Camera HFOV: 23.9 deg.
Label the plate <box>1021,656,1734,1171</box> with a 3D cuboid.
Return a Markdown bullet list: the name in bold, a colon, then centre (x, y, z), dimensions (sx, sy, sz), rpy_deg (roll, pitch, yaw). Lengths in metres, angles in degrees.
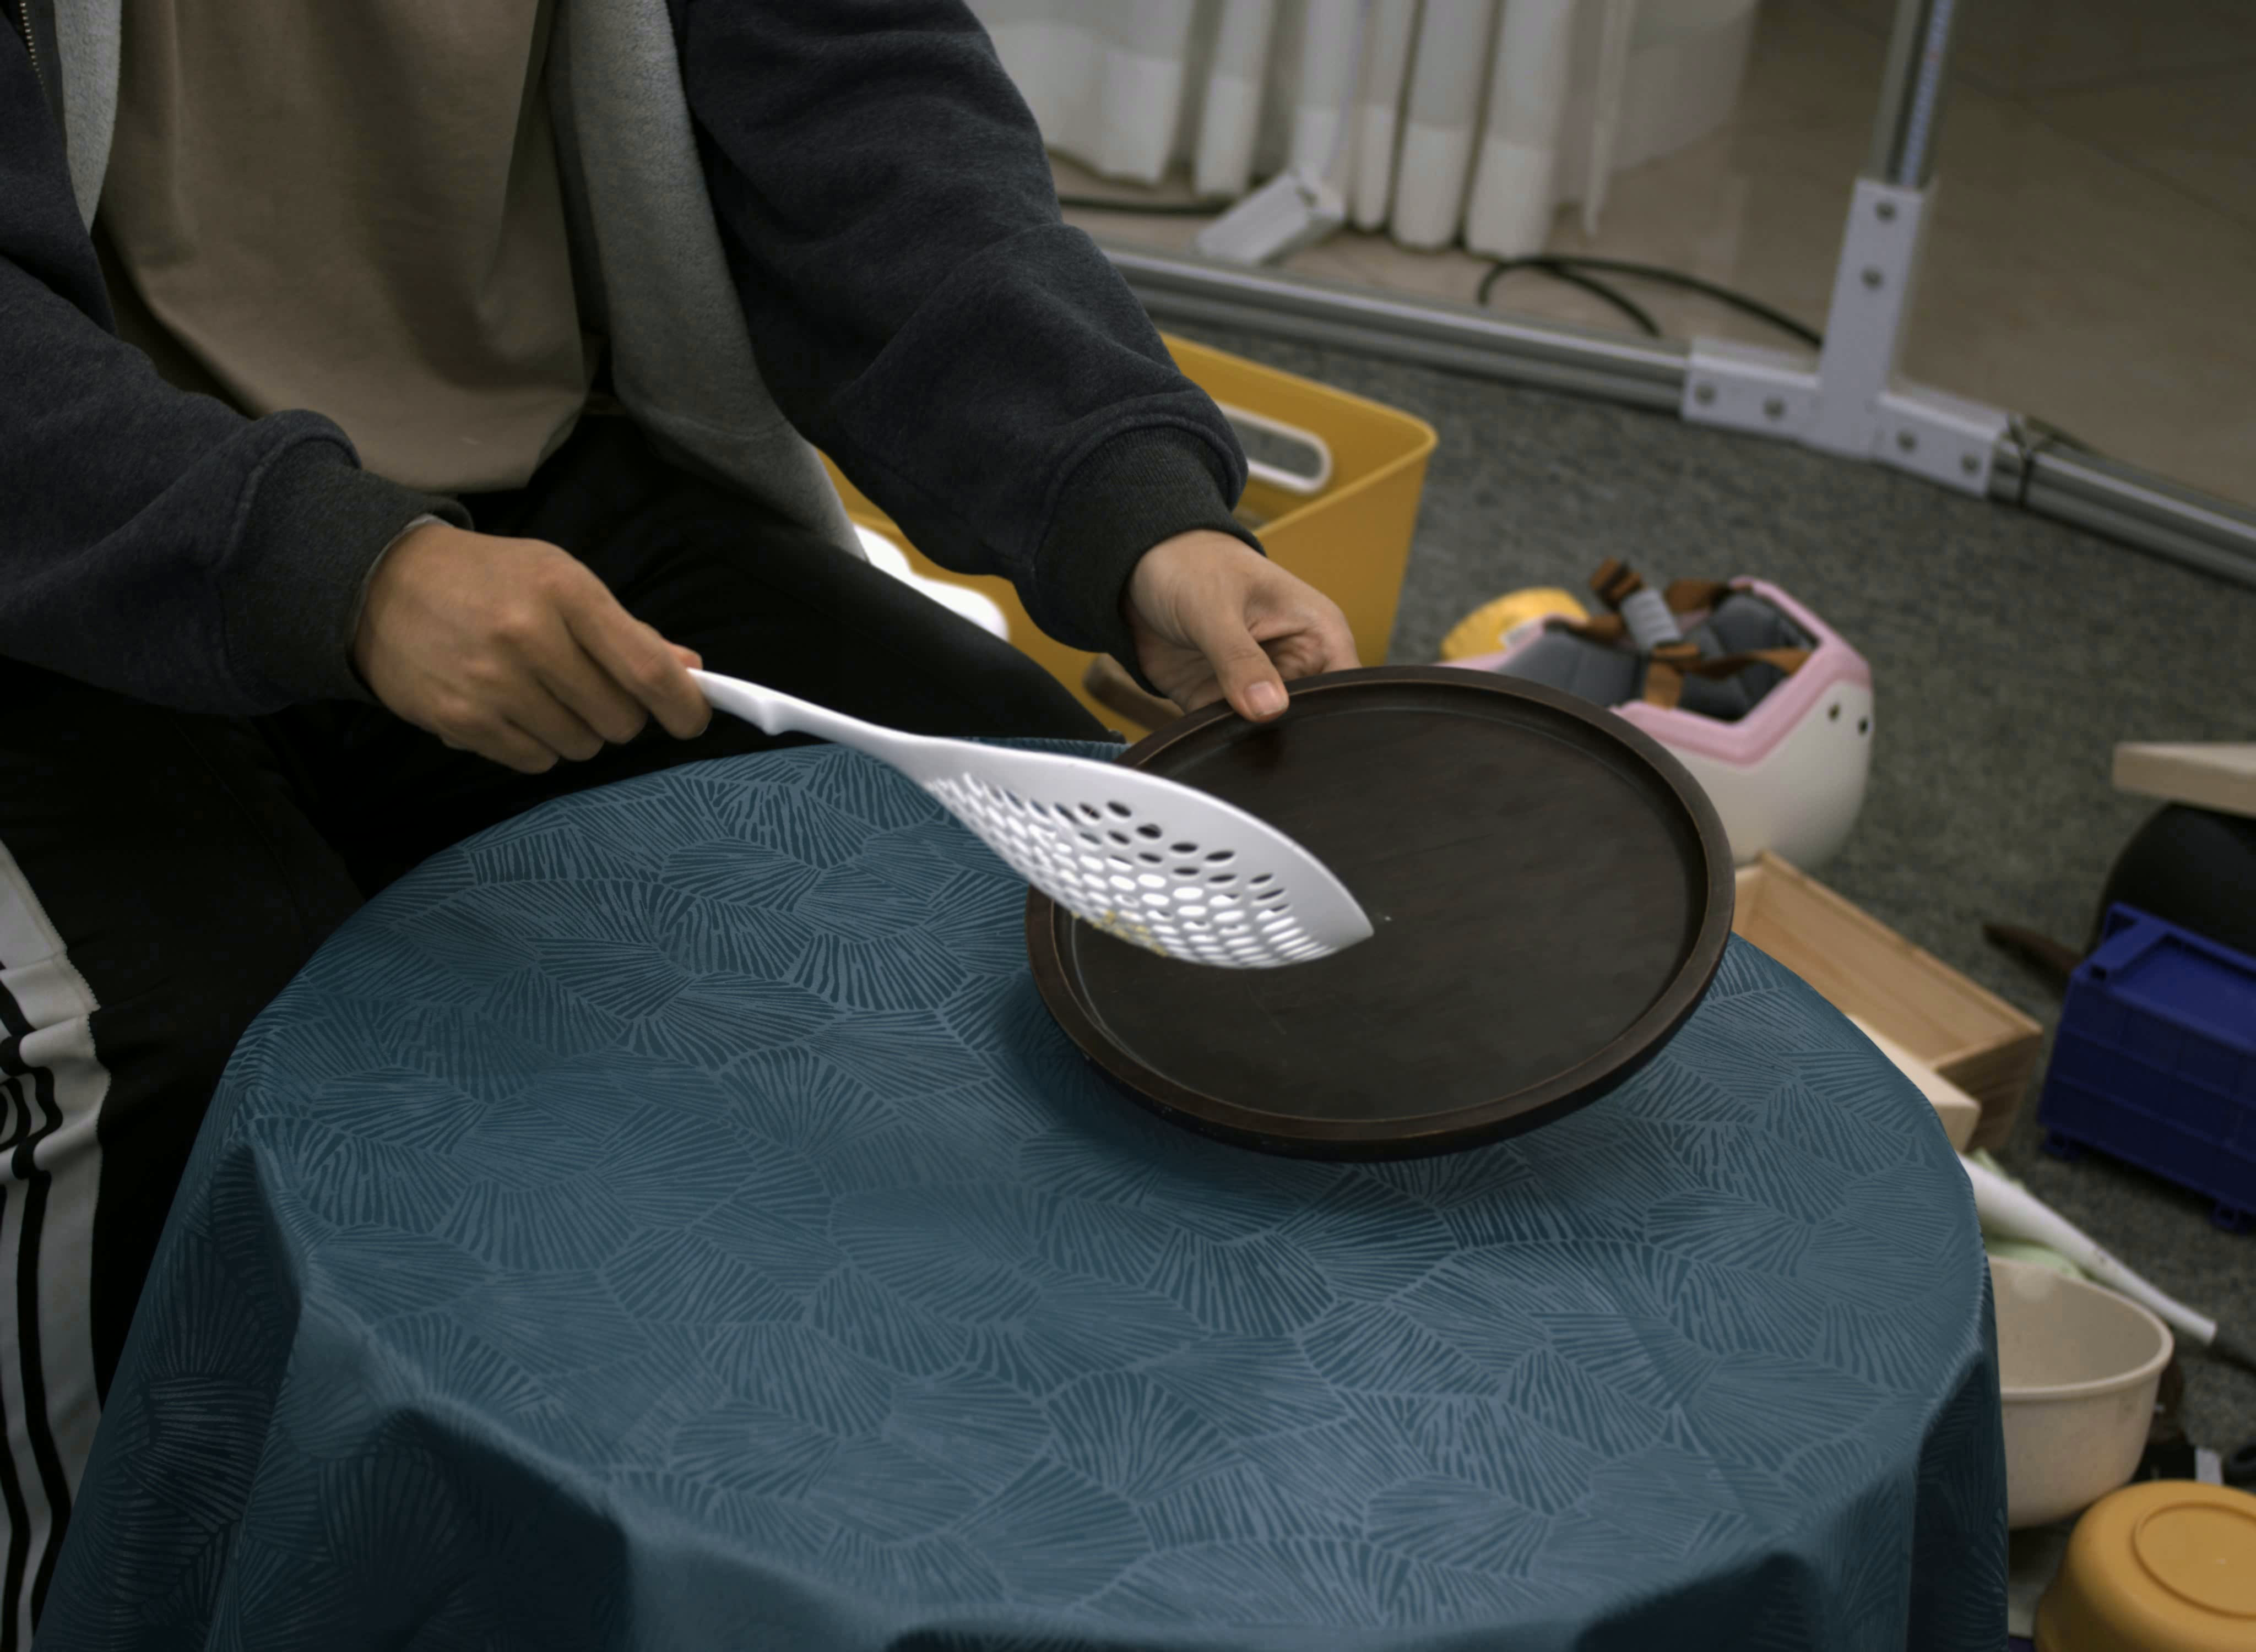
- **plate**: centre (0.088, 0.032, 1.886), dimensions (0.254, 0.029, 0.257), rpy_deg (-5, 41, 4)

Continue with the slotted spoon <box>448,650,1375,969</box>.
- **slotted spoon**: centre (-0.079, -0.016, 1.803), dimensions (0.350, 0.050, 0.136), rpy_deg (22, -11, 26)
